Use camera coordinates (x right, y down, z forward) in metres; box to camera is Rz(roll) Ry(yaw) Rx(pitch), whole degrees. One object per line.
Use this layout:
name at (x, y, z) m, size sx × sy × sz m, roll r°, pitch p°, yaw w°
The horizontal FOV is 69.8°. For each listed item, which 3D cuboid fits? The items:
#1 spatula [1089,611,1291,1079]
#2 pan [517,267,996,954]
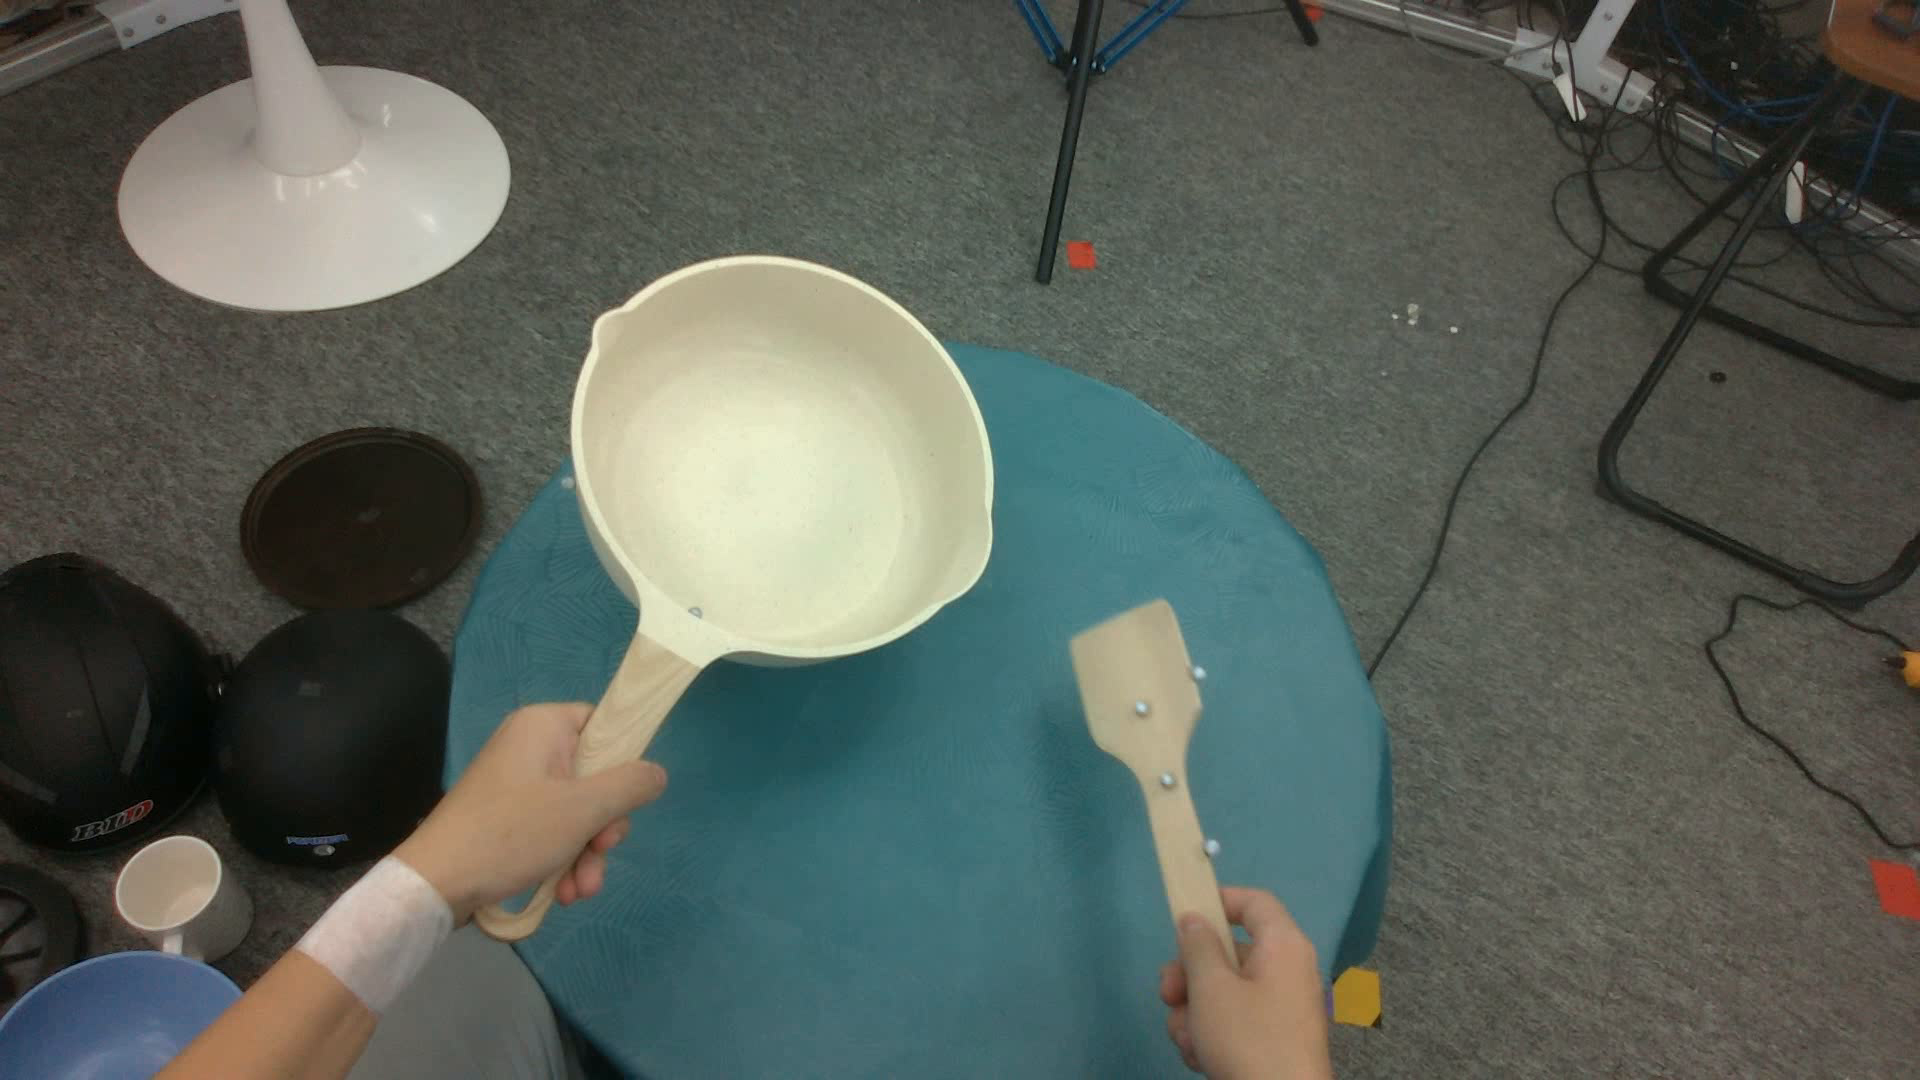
spatula at (0.133, 0.163, 0.776) m, size 0.072 × 0.010 × 0.294 m, roll -27°, pitch 44°, yaw 17°
pan at (-0.140, 0.034, 0.796) m, size 0.263 × 0.101 × 0.437 m, roll 31°, pitch 61°, yaw -10°
